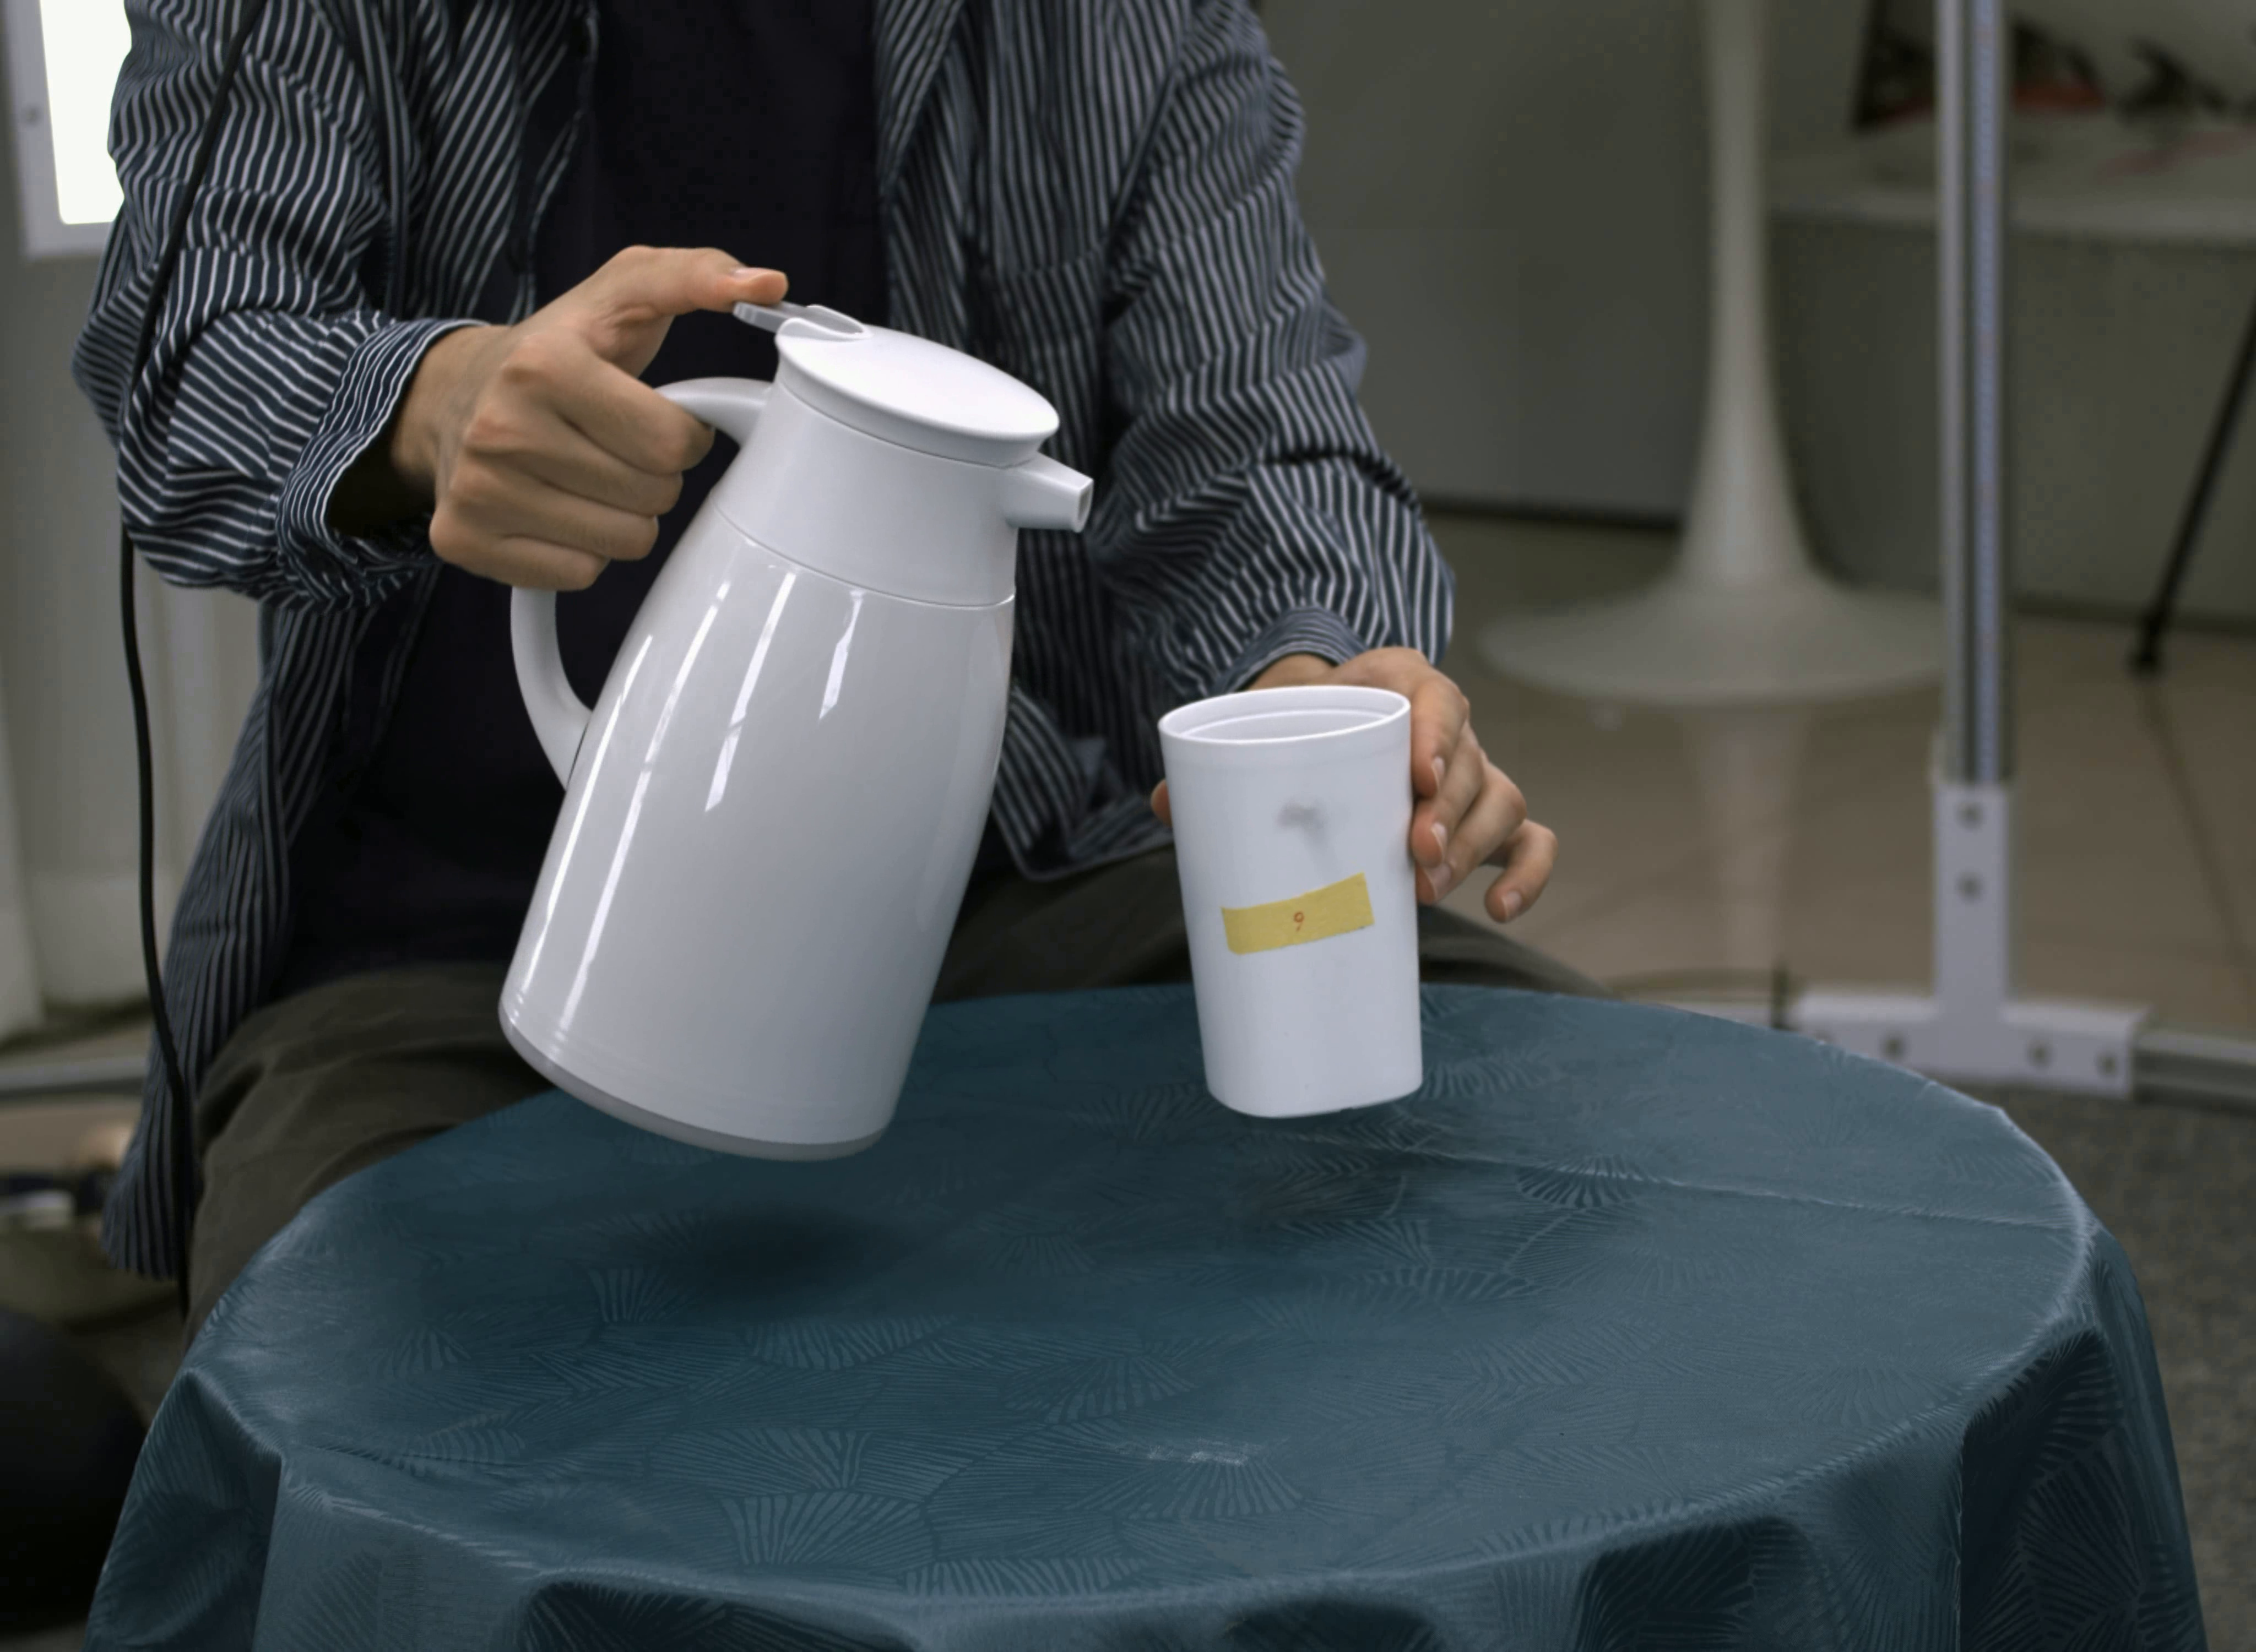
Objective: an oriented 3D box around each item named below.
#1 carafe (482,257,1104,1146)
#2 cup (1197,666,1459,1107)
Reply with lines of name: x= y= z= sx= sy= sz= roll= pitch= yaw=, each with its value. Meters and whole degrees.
carafe: x=-0.118 y=-0.048 z=1.682 sx=0.166 sy=0.251 sz=0.132 roll=22 pitch=19 yaw=1
cup: x=0.067 y=0.019 z=1.714 sx=0.080 sy=0.127 sz=0.082 roll=-5 pitch=12 yaw=0
